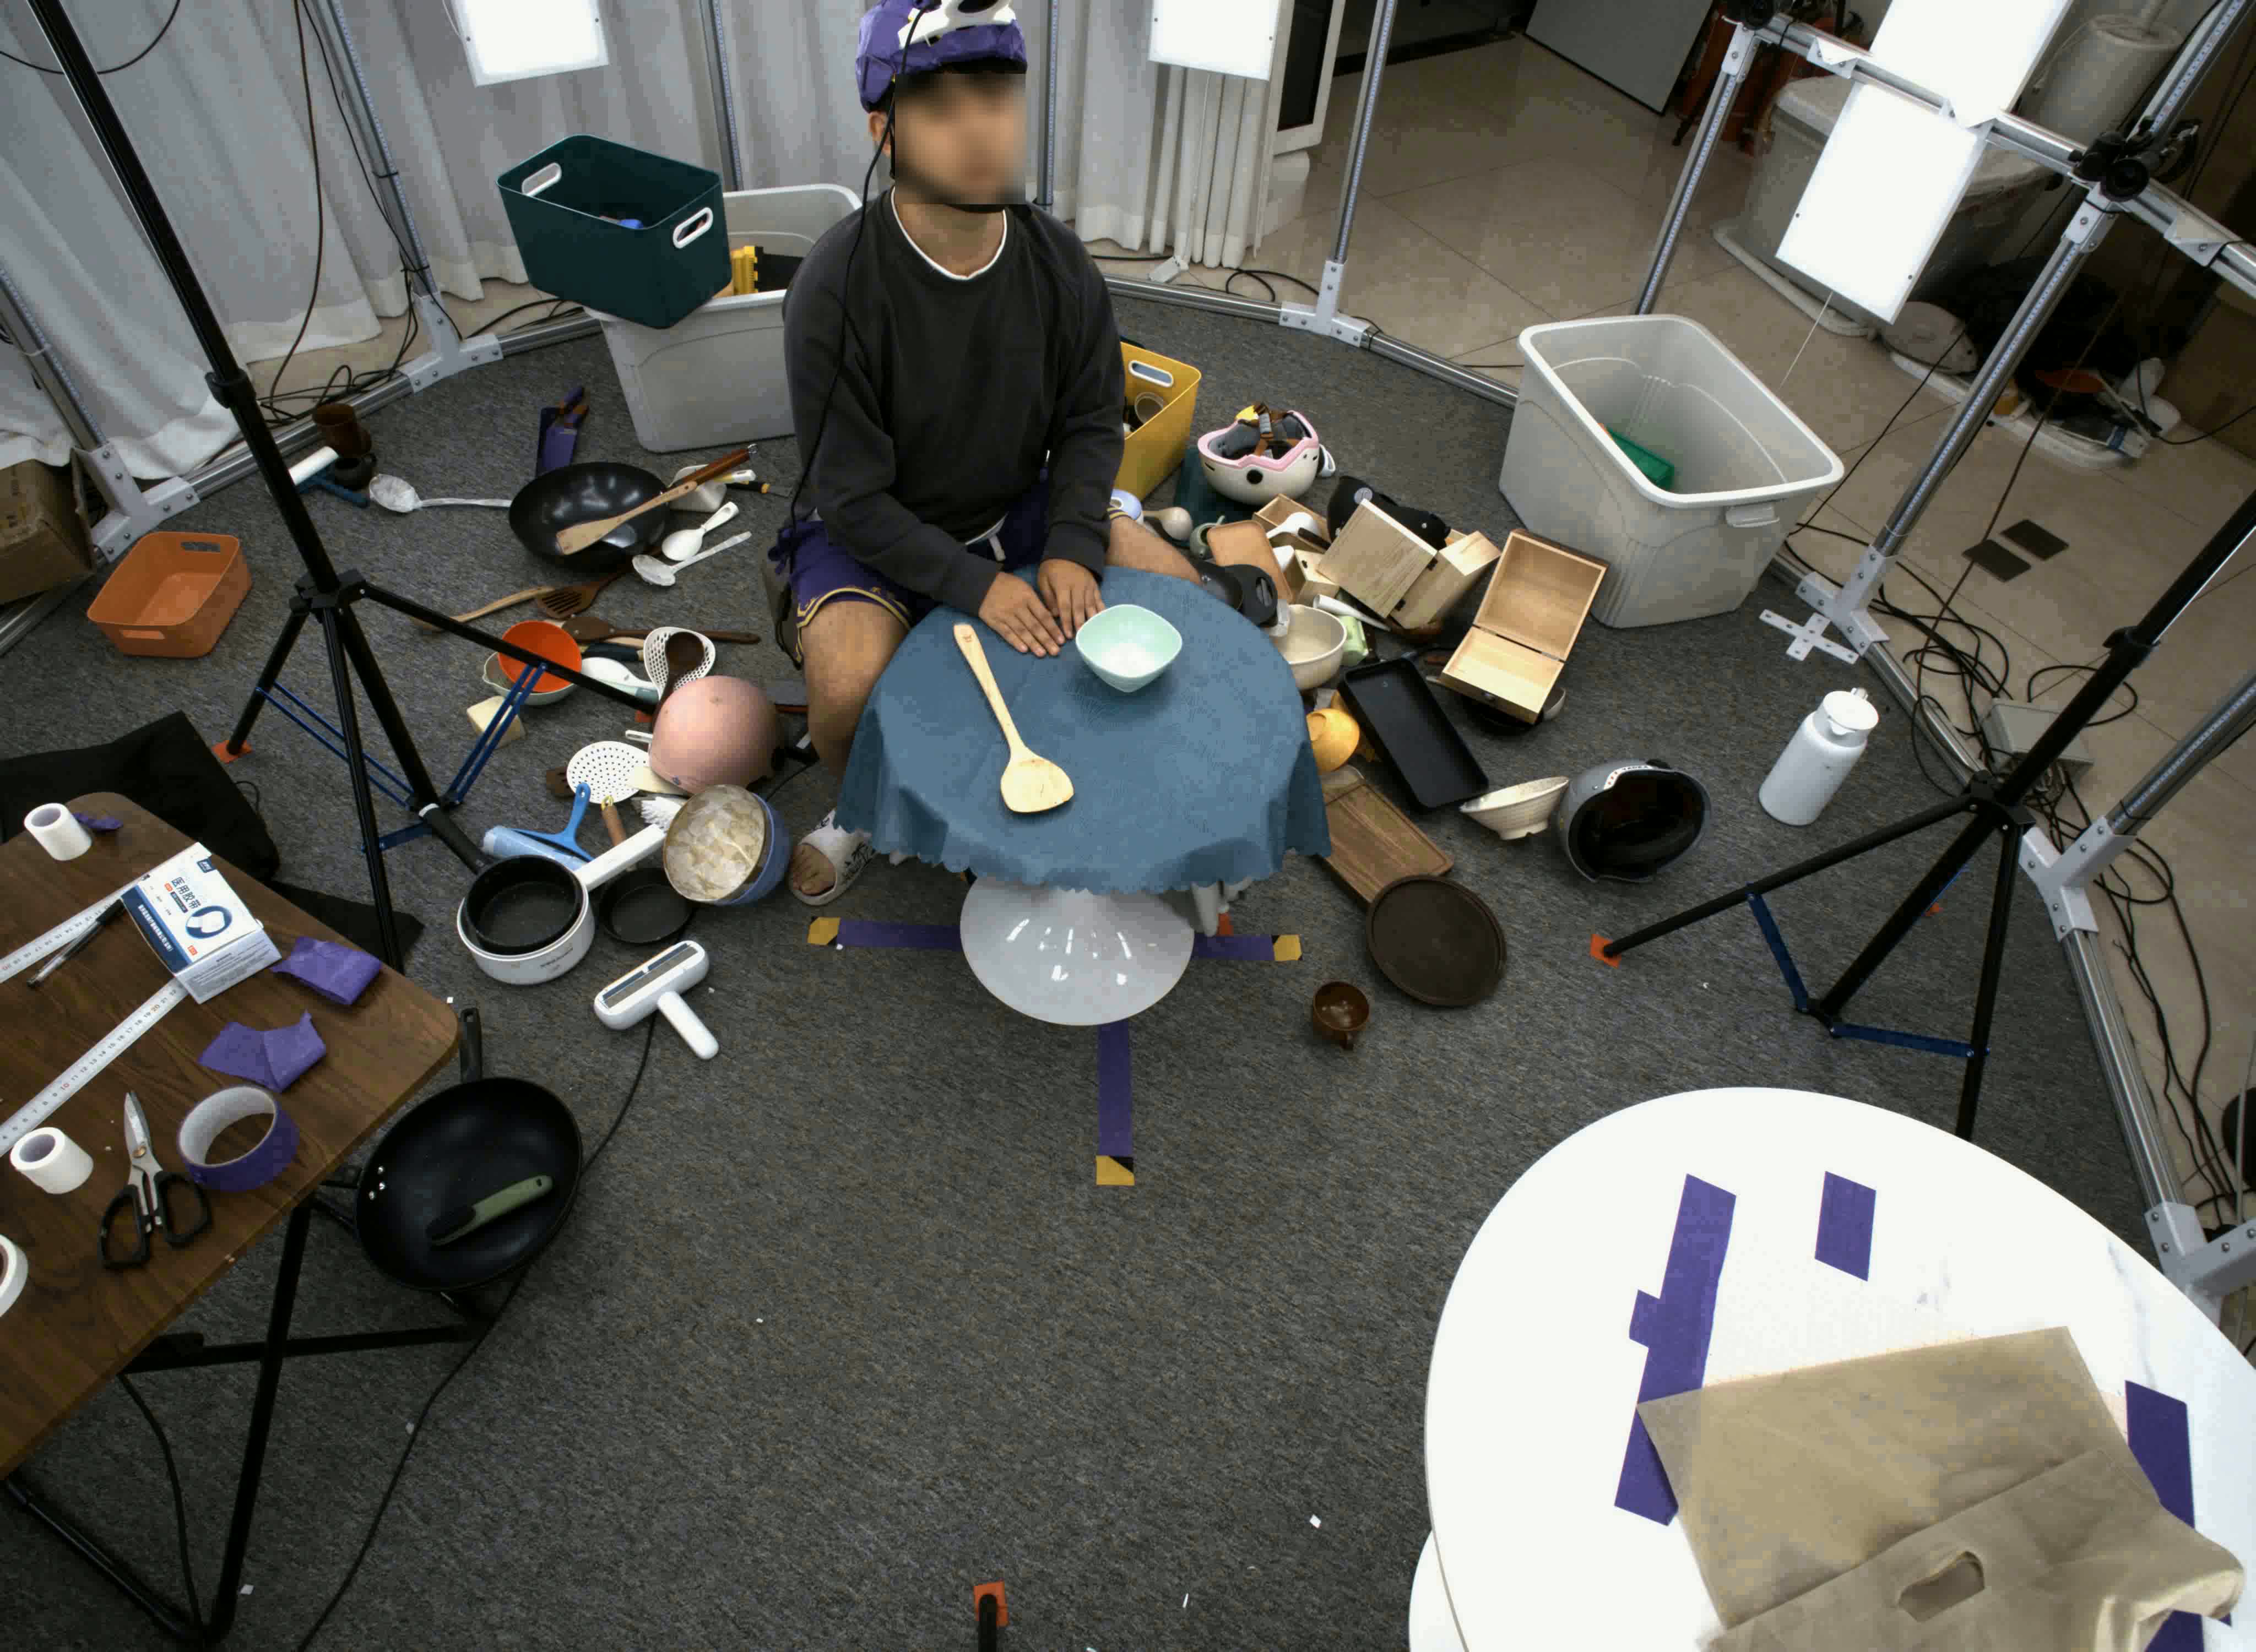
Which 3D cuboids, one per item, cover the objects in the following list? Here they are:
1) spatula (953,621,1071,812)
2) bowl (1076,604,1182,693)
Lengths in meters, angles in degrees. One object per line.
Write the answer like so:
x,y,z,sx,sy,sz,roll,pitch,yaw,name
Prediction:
-0.182,-0.160,1.781,0.096,0.018,0.400,-13,51,-17,spatula
-0.001,-0.247,1.846,0.151,0.057,0.155,3,50,-3,bowl
